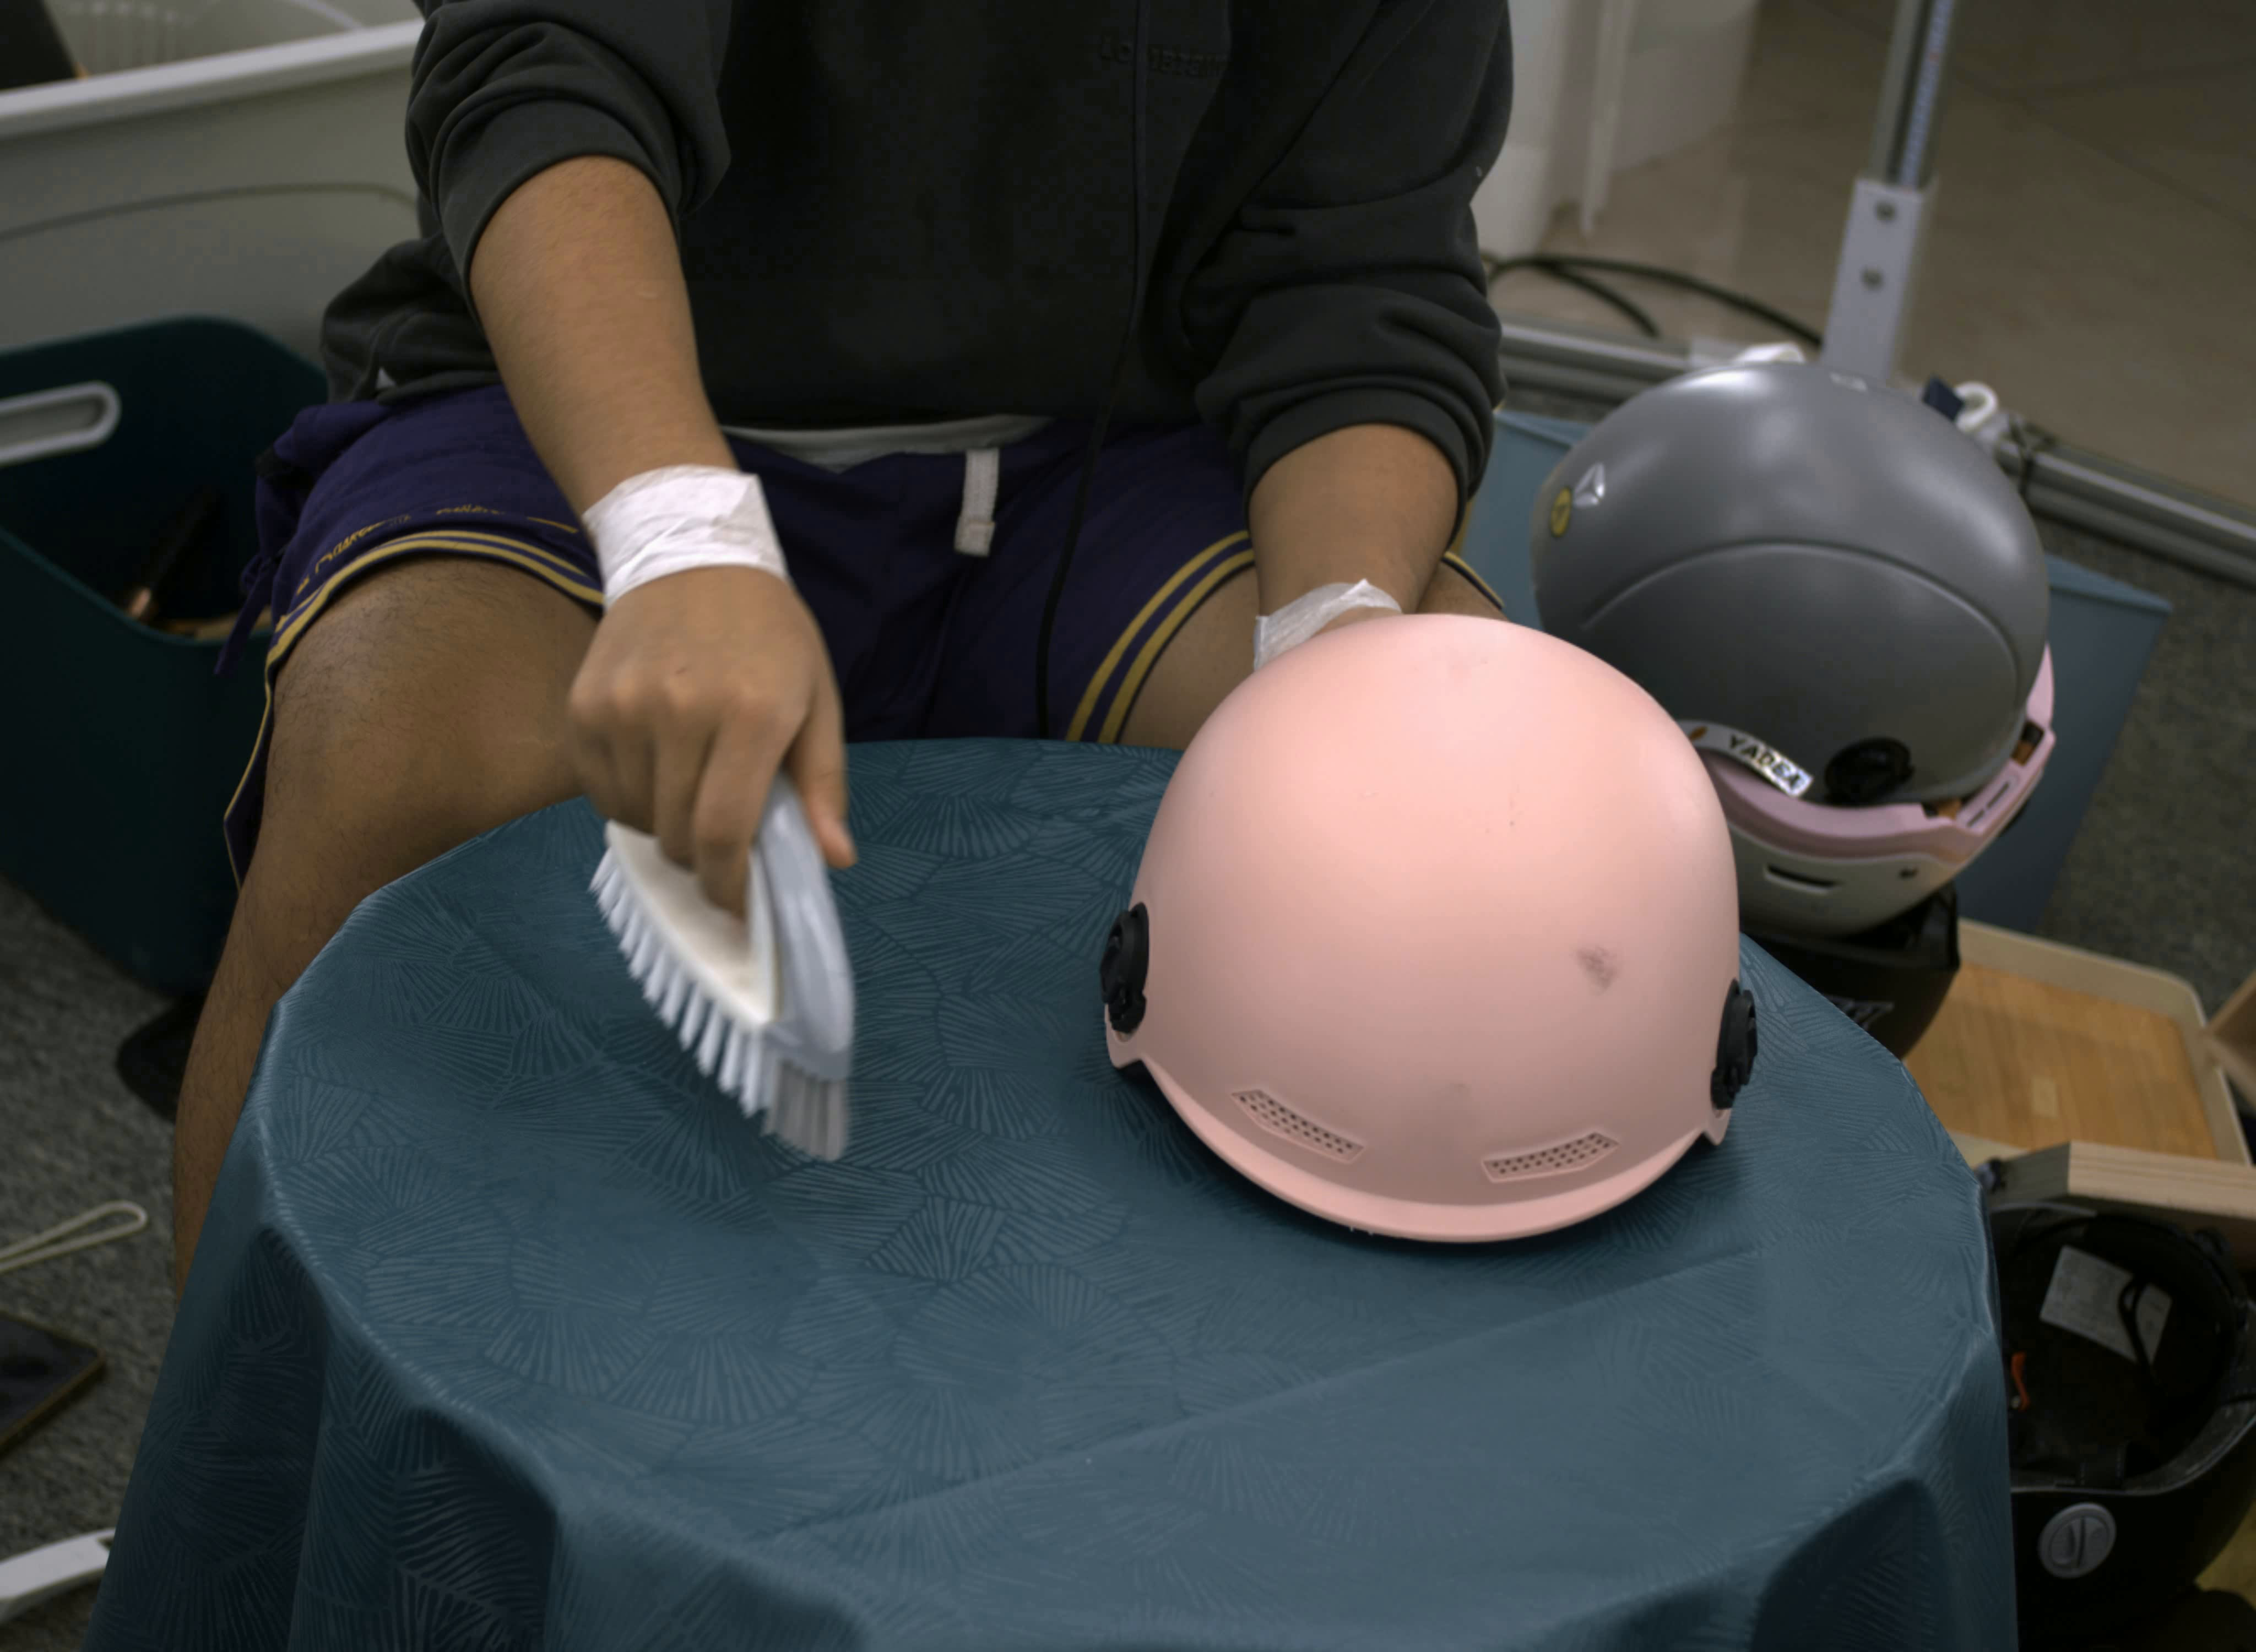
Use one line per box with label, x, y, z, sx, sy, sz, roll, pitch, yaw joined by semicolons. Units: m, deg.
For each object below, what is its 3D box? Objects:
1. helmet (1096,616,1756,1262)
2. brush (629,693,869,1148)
helmet;0.111;0.020;1.864;0.233;0.158;0.267;7;30;0
brush;-0.117;0.023;1.783;0.061;0.094;0.177;-5;37;-22
